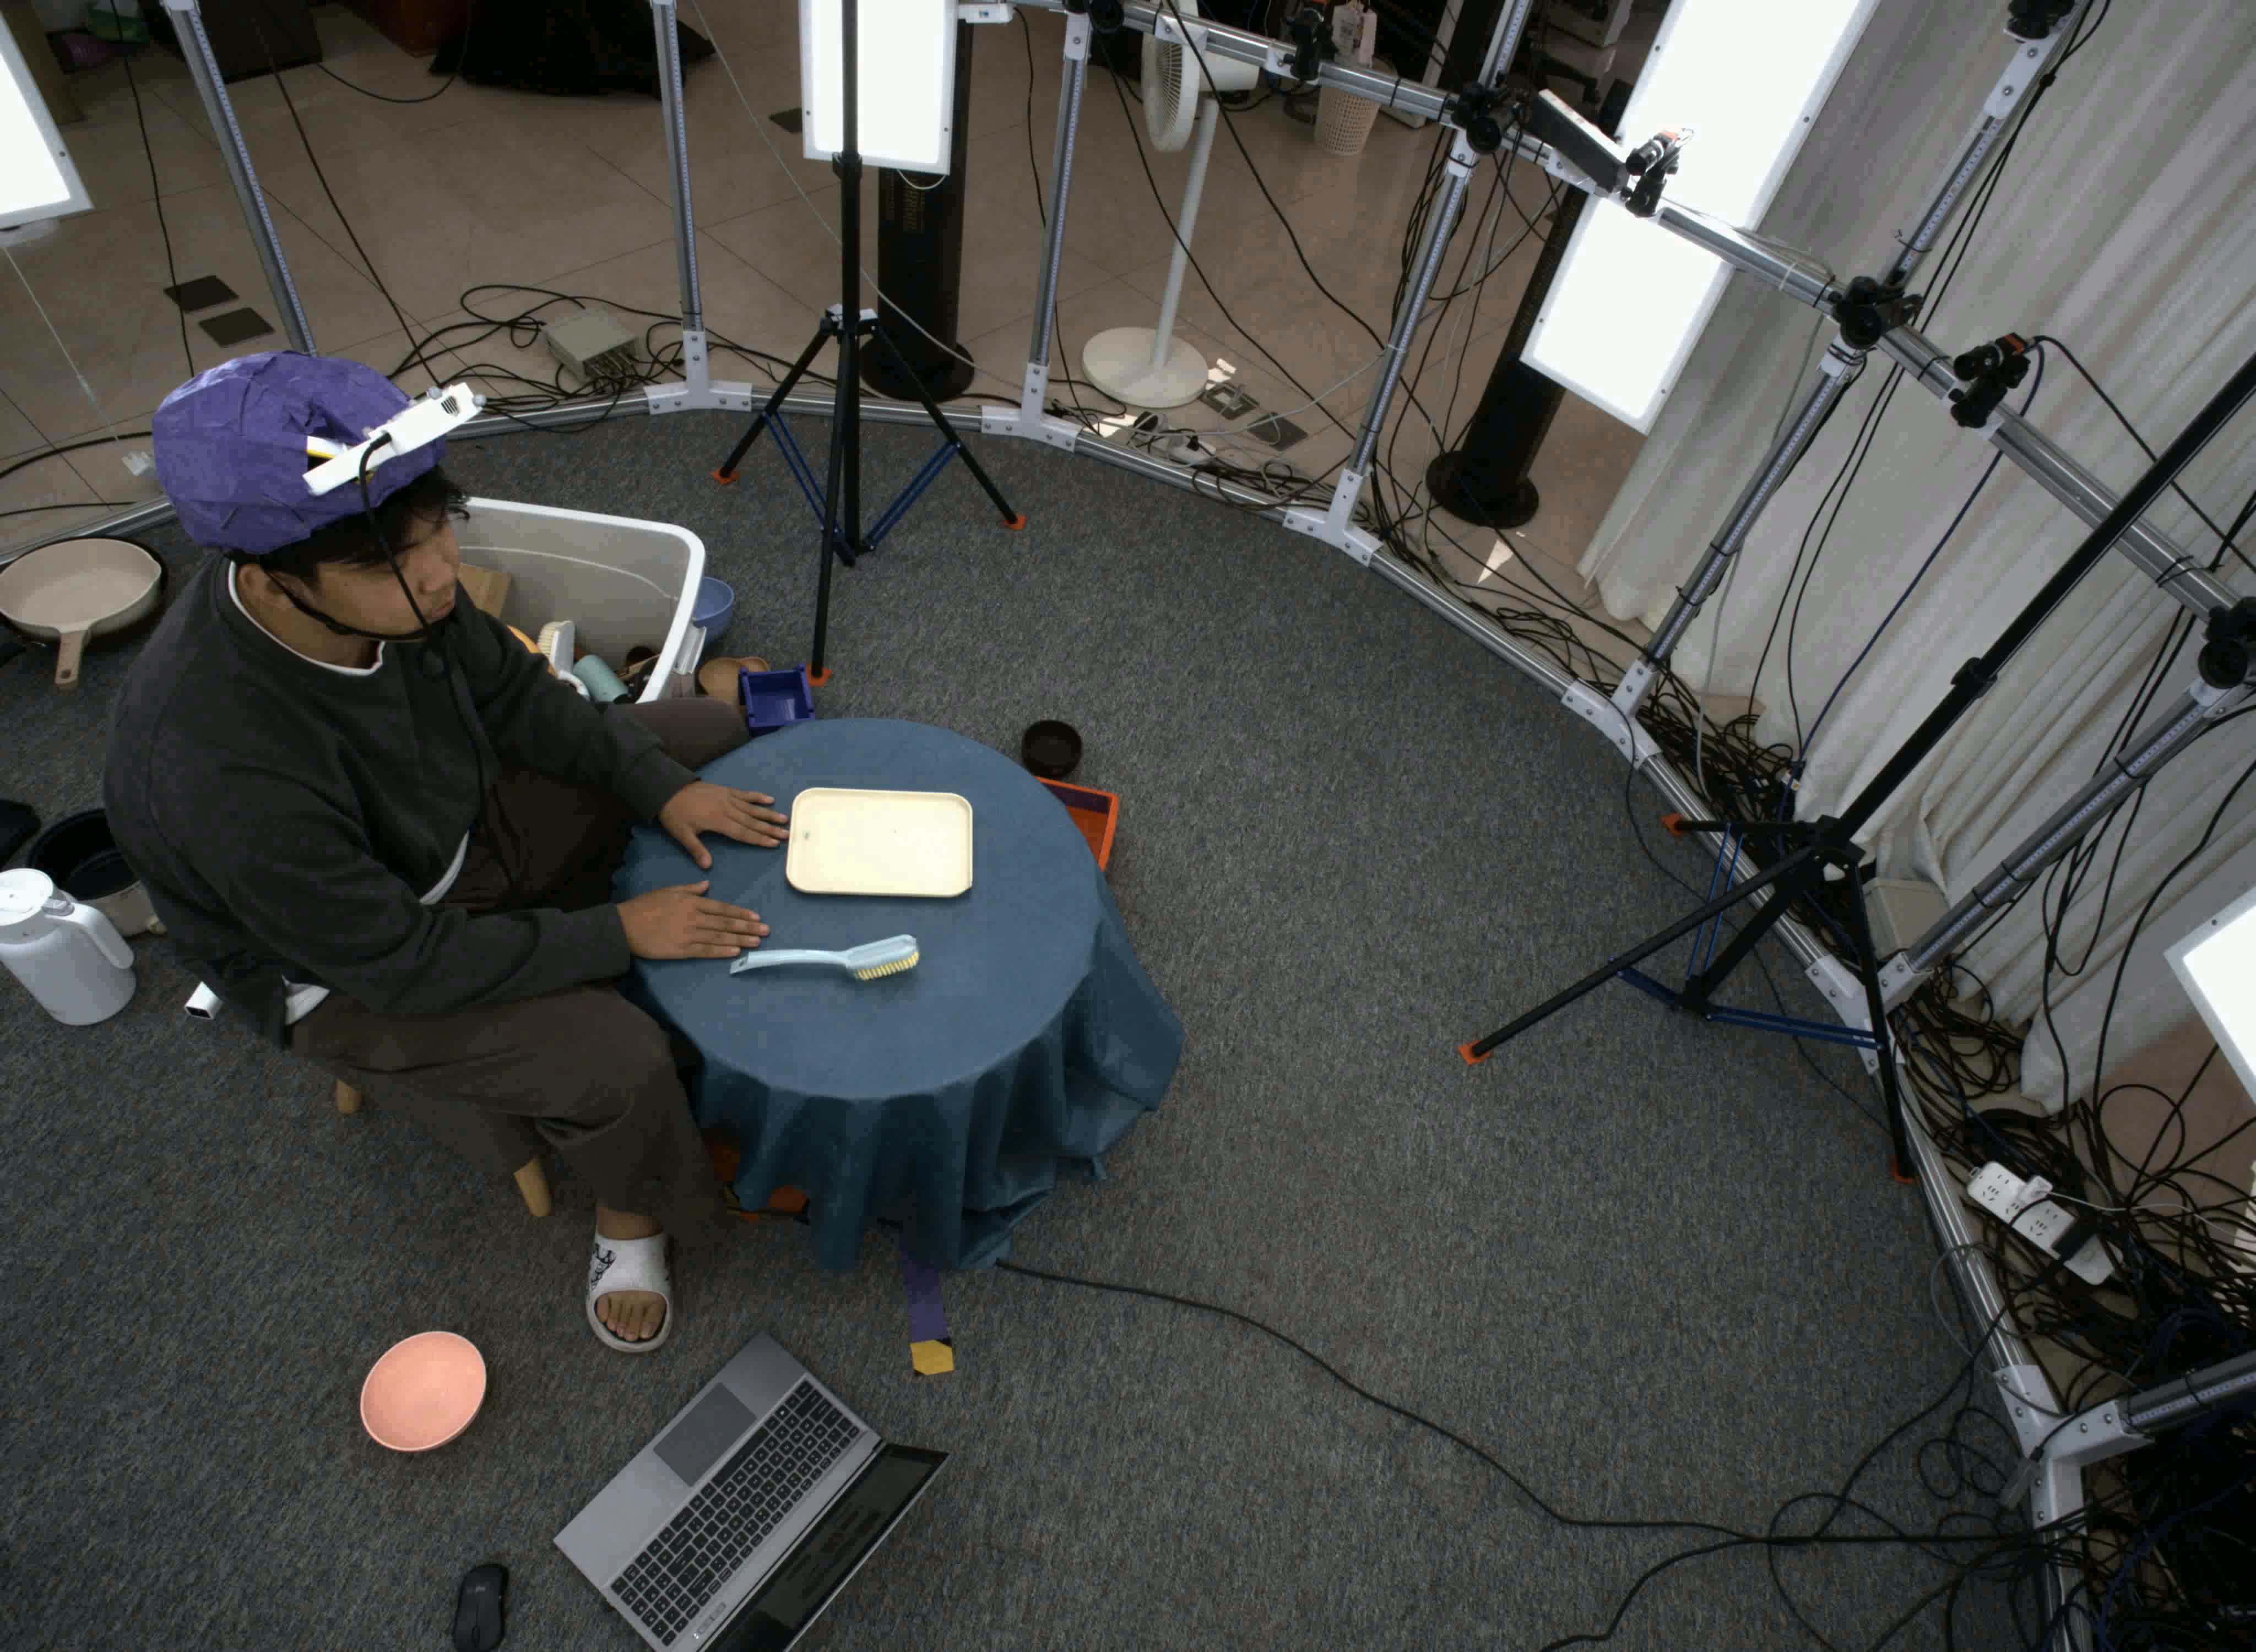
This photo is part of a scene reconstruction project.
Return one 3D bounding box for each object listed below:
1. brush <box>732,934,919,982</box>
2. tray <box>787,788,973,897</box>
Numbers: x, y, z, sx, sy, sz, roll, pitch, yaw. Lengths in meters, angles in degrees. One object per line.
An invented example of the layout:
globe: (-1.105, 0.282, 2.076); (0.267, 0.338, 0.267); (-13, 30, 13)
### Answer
brush: (-0.370, 0.168, 1.588); (0.228, 0.051, 0.037); (-6, 41, -8)
tray: (-0.324, 0.022, 1.717); (0.239, 0.018, 0.168); (3, 53, -12)
